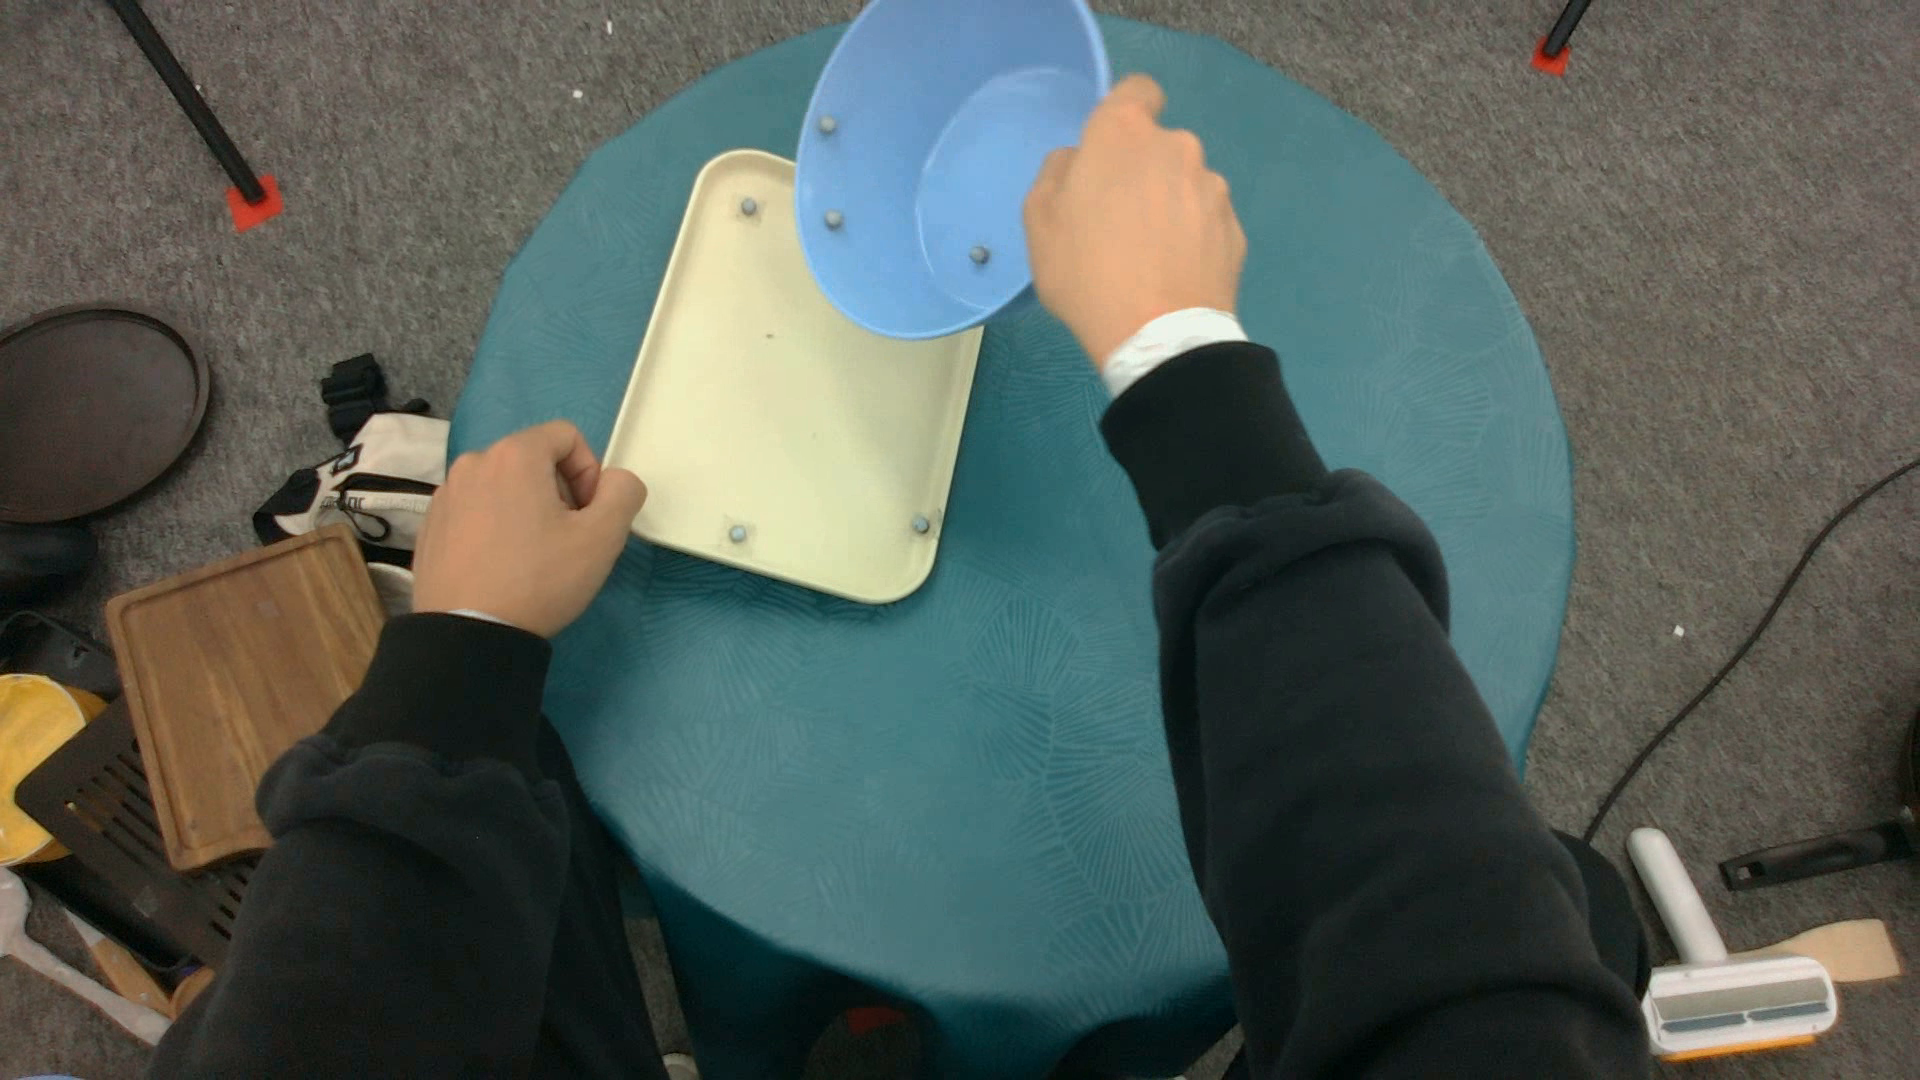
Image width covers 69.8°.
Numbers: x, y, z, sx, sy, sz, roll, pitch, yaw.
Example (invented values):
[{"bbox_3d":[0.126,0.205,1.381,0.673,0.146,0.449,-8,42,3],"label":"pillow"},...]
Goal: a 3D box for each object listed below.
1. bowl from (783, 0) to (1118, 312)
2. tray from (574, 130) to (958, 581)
[{"bbox_3d":[0.006,-0.179,0.637,0.175,0.070,0.176,-8,74,31],"label":"bowl"},{"bbox_3d":[-0.092,-0.100,0.722,0.171,0.017,0.240,16,65,-11],"label":"tray"}]
